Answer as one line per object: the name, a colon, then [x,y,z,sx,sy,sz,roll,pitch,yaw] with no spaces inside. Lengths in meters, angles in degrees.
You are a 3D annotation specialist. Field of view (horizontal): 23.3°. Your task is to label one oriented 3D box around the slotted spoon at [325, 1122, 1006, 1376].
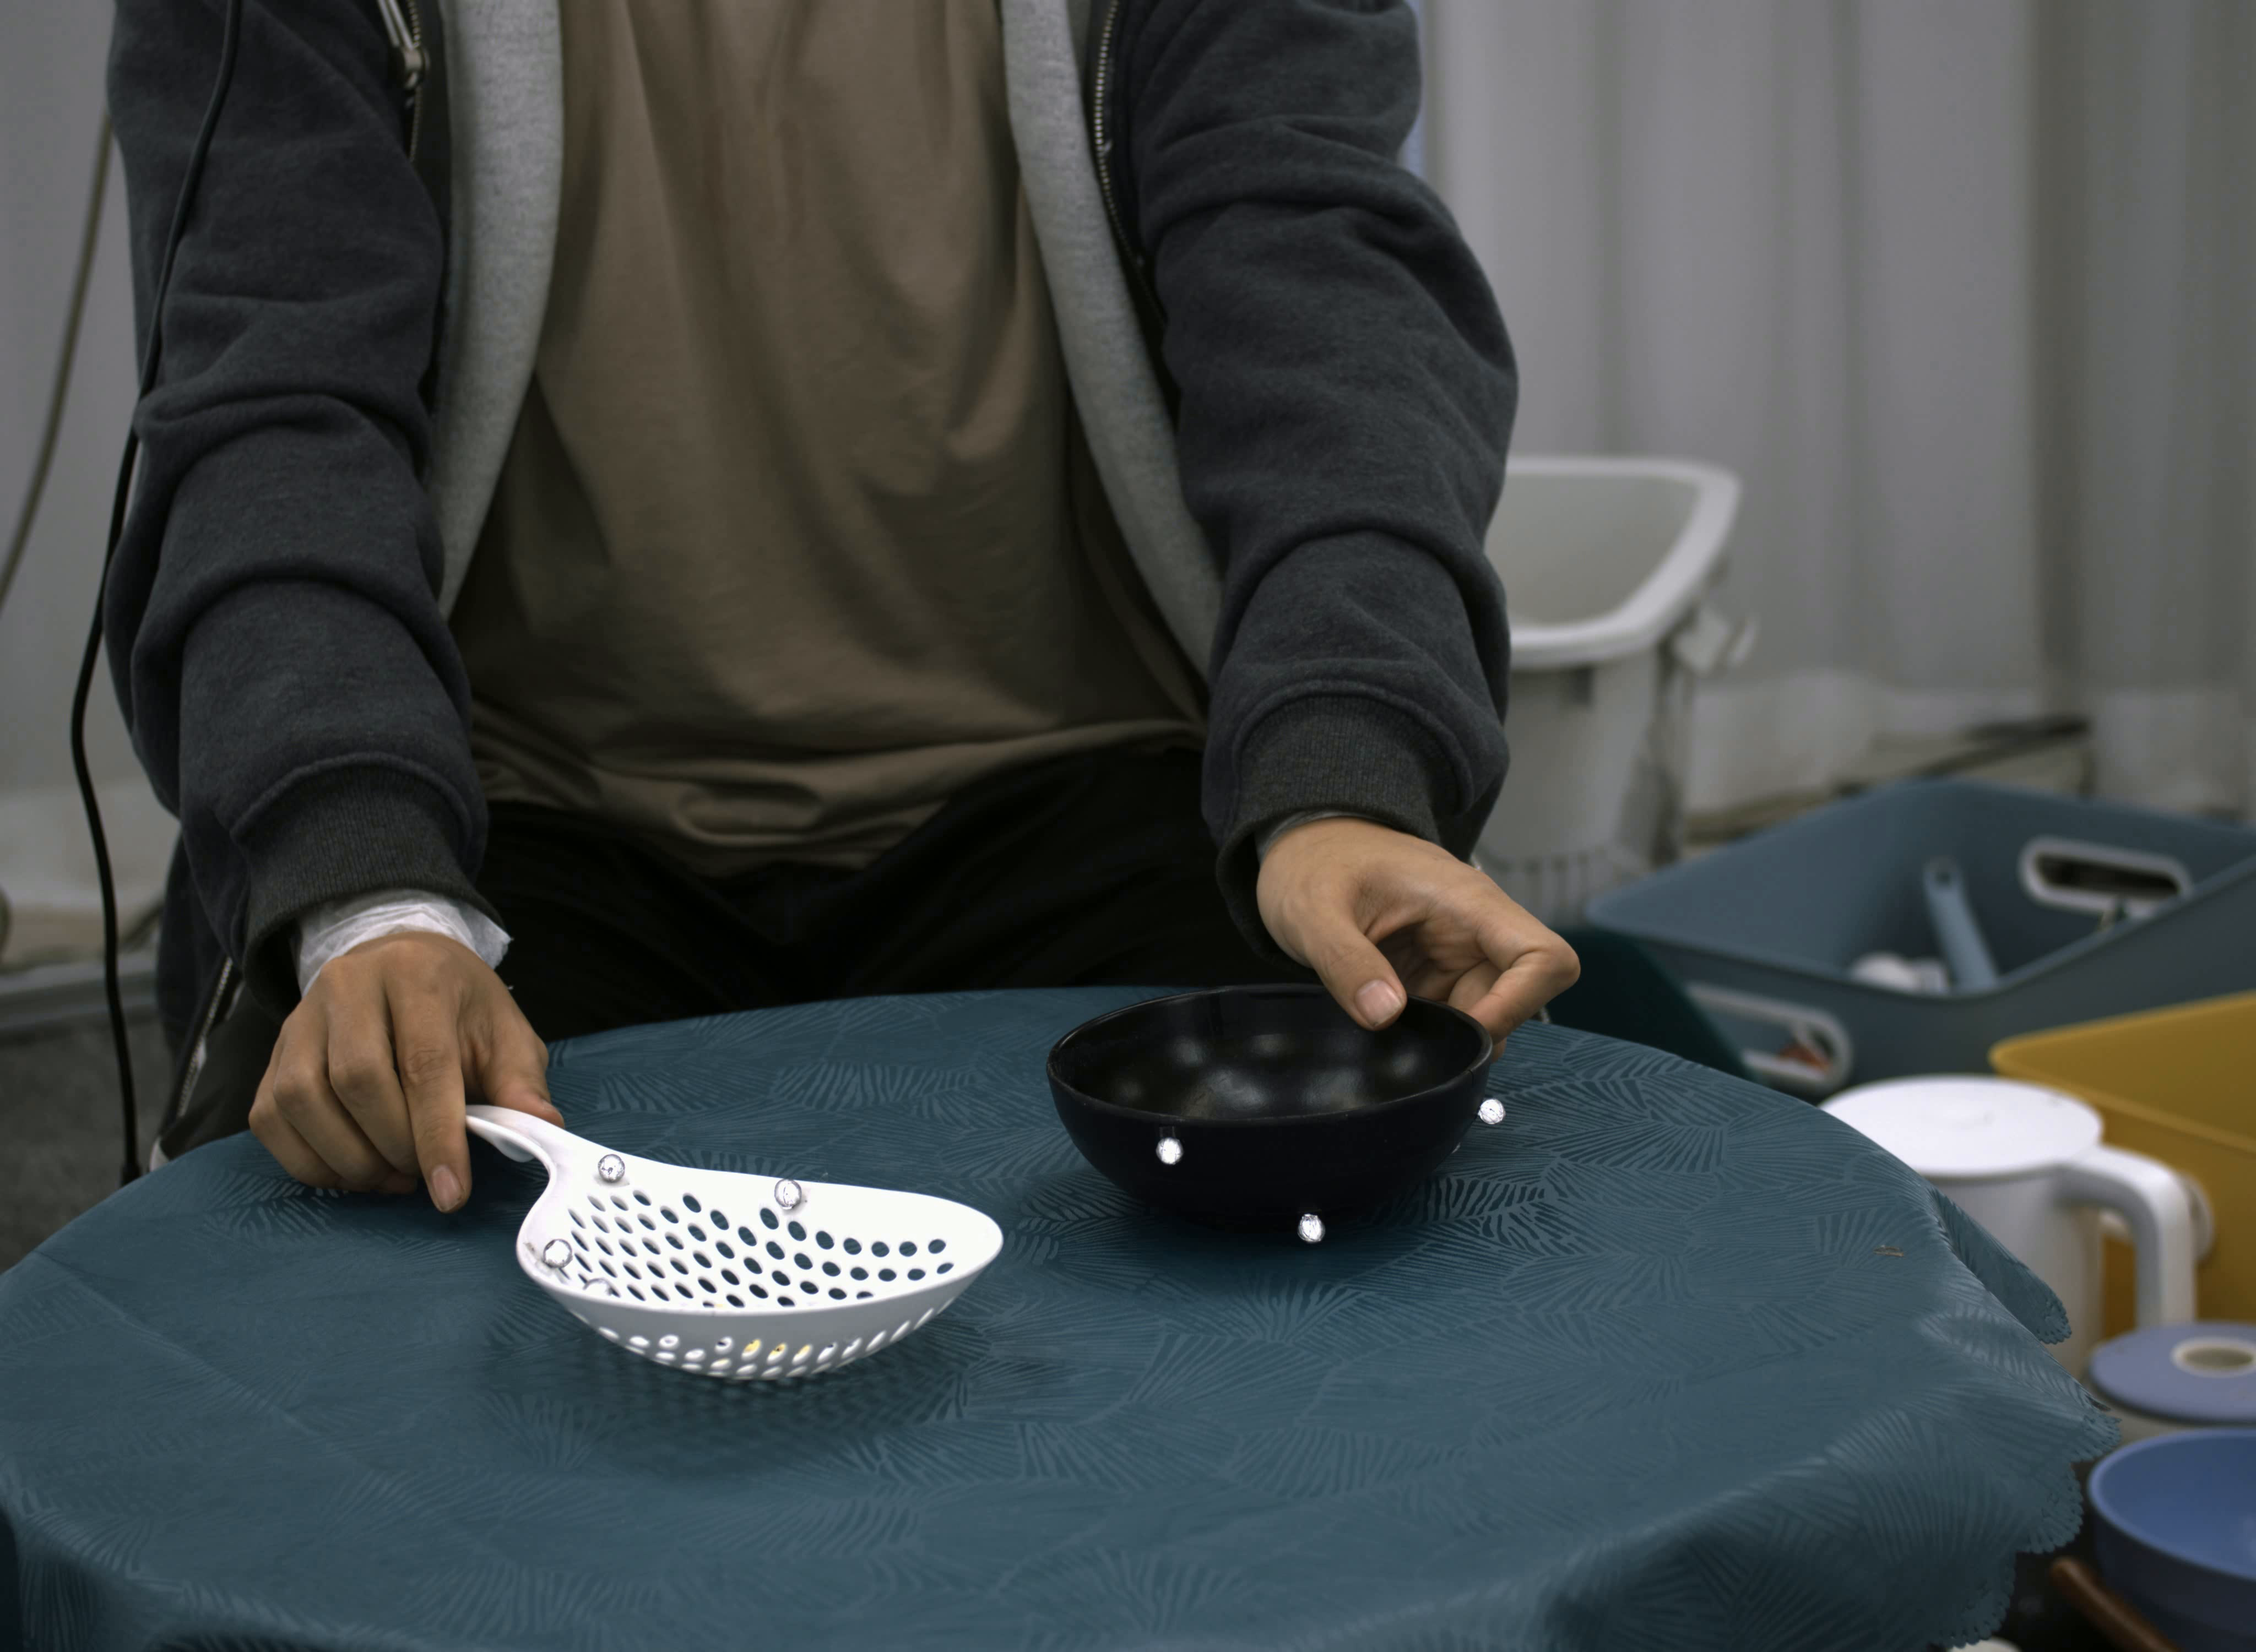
slotted spoon: [-0.162,0.116,1.667,0.136,0.050,0.350,-12,17,-30]
